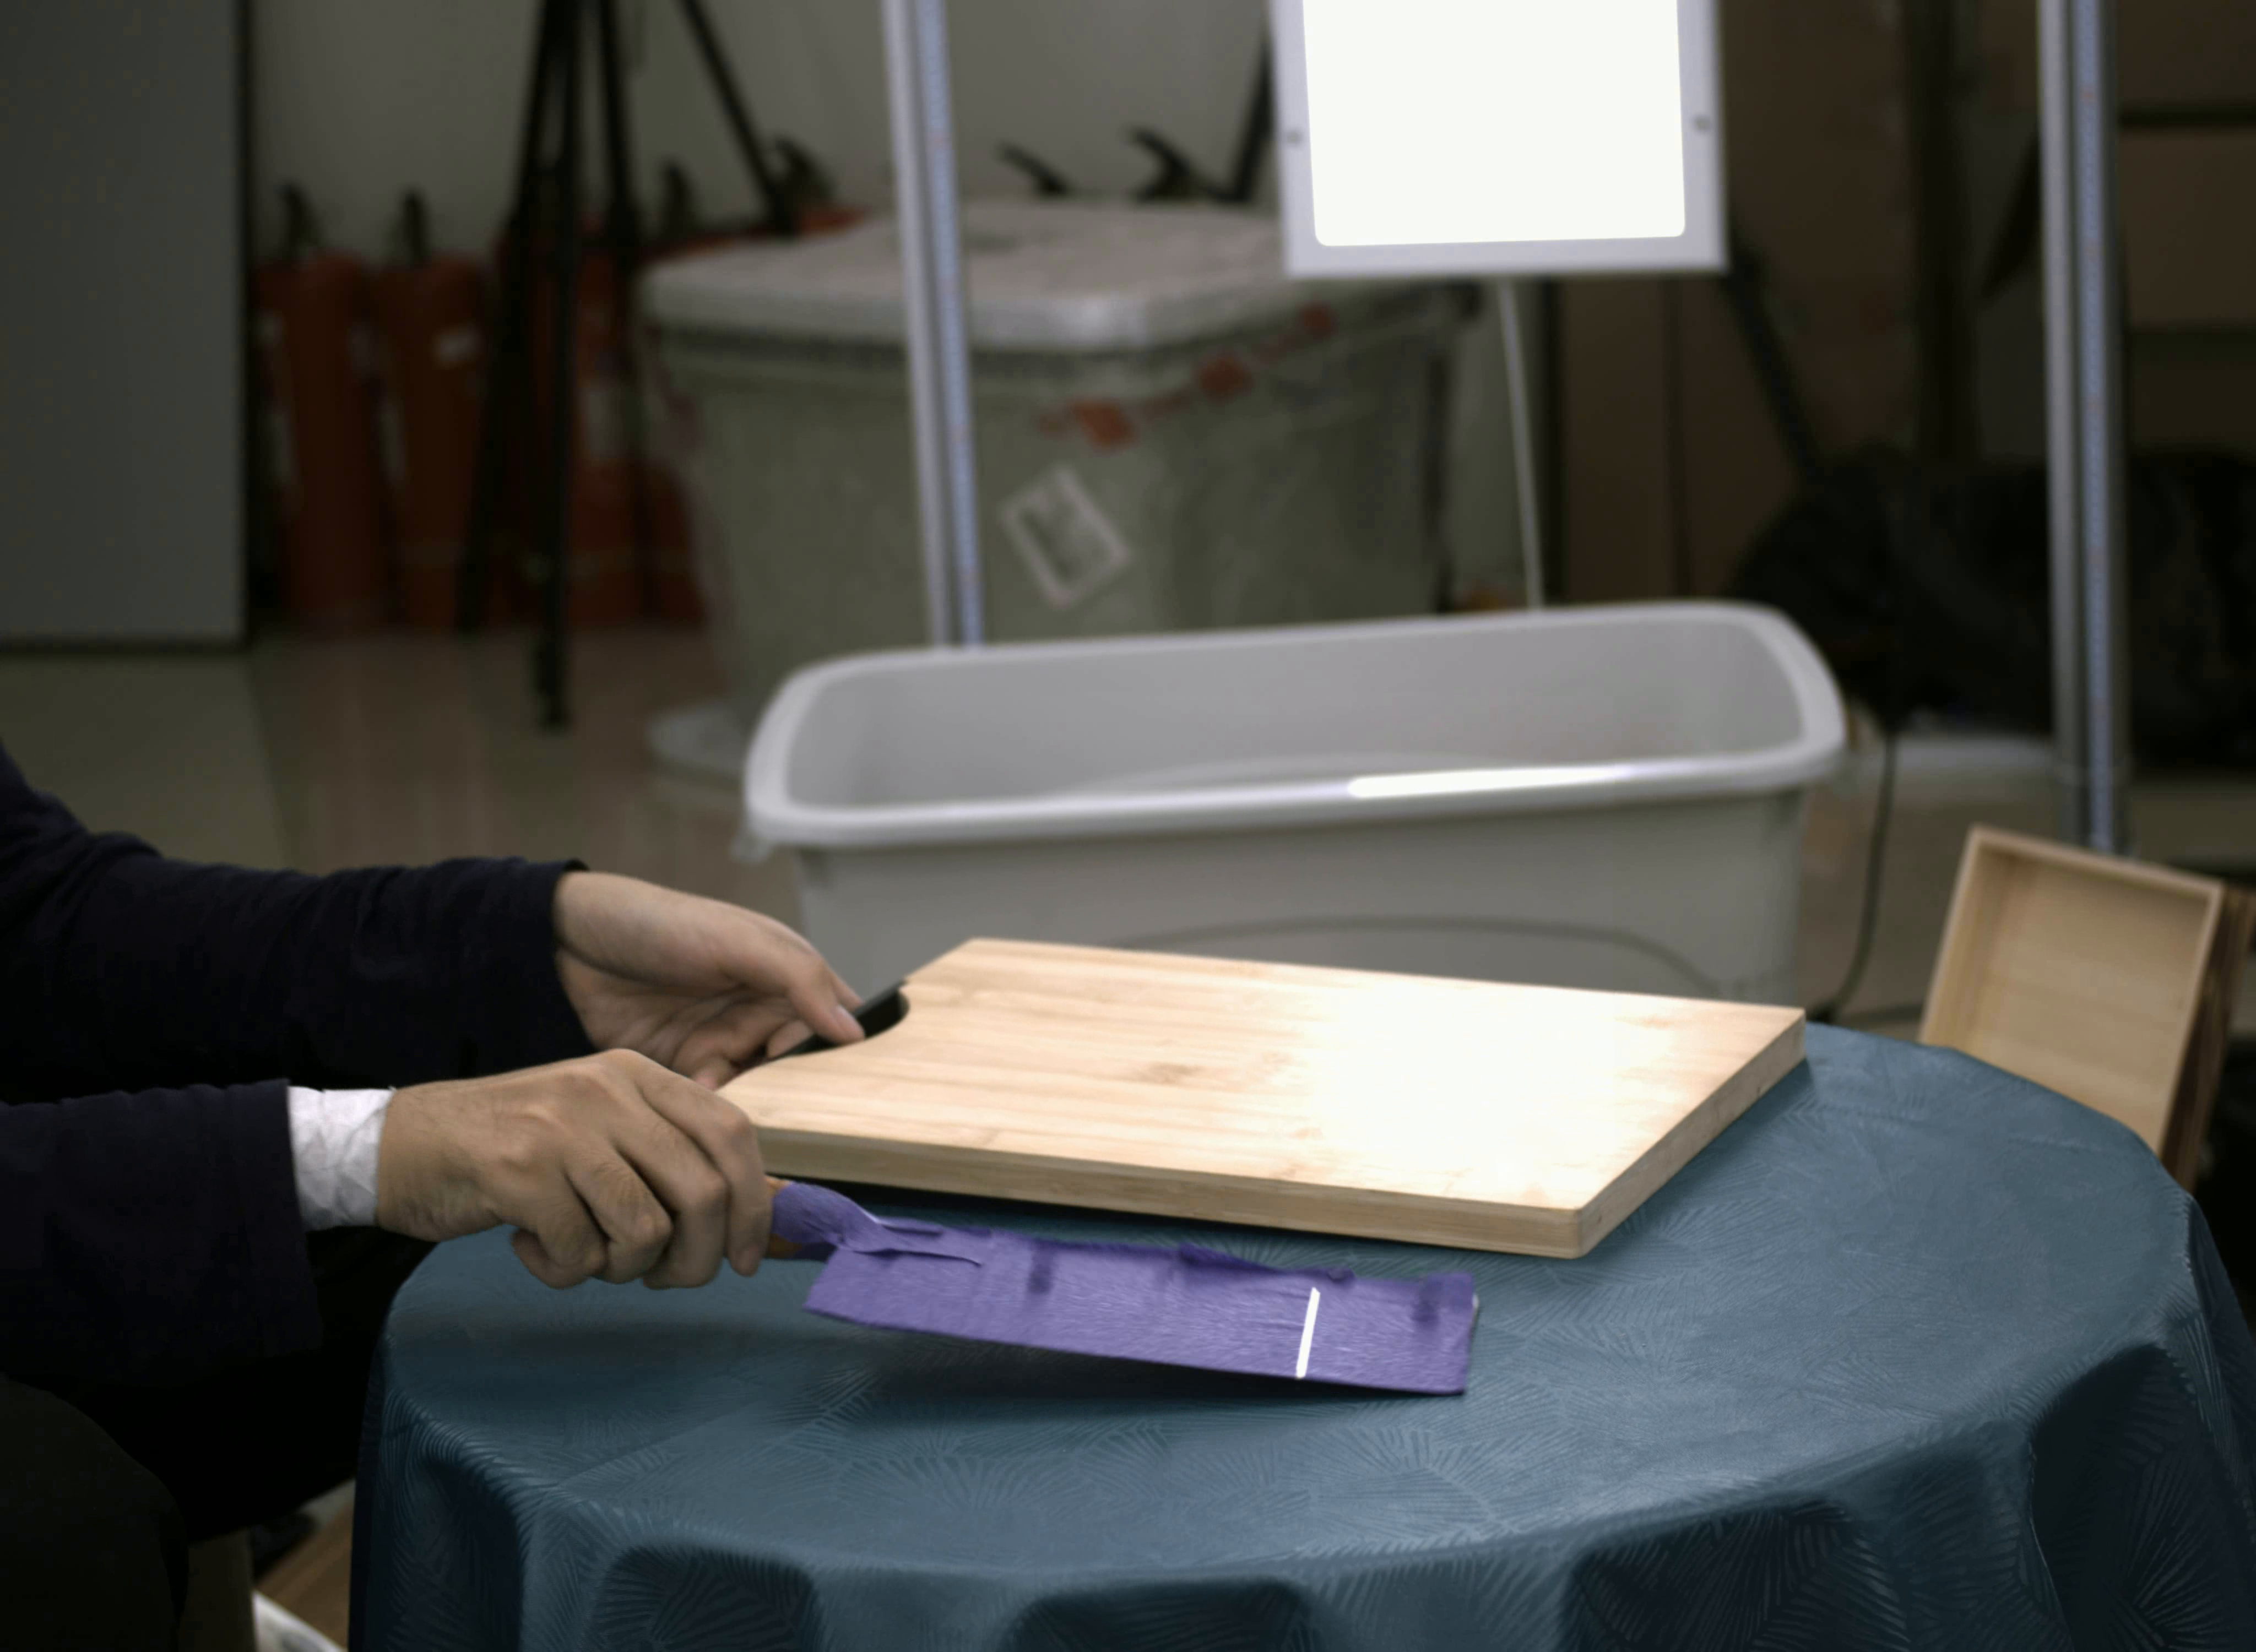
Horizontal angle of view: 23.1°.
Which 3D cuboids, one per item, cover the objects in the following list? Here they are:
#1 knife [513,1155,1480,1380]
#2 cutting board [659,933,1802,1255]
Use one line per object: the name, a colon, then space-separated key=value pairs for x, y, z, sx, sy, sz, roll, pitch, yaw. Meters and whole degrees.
knife: x=-0.046 y=0.140 z=1.738 sx=0.317 sy=0.032 sz=0.103 roll=3 pitch=18 yaw=9
cutting board: x=0.040 y=0.092 z=1.970 sx=0.354 sy=0.024 sz=0.245 roll=4 pitch=16 yaw=26
